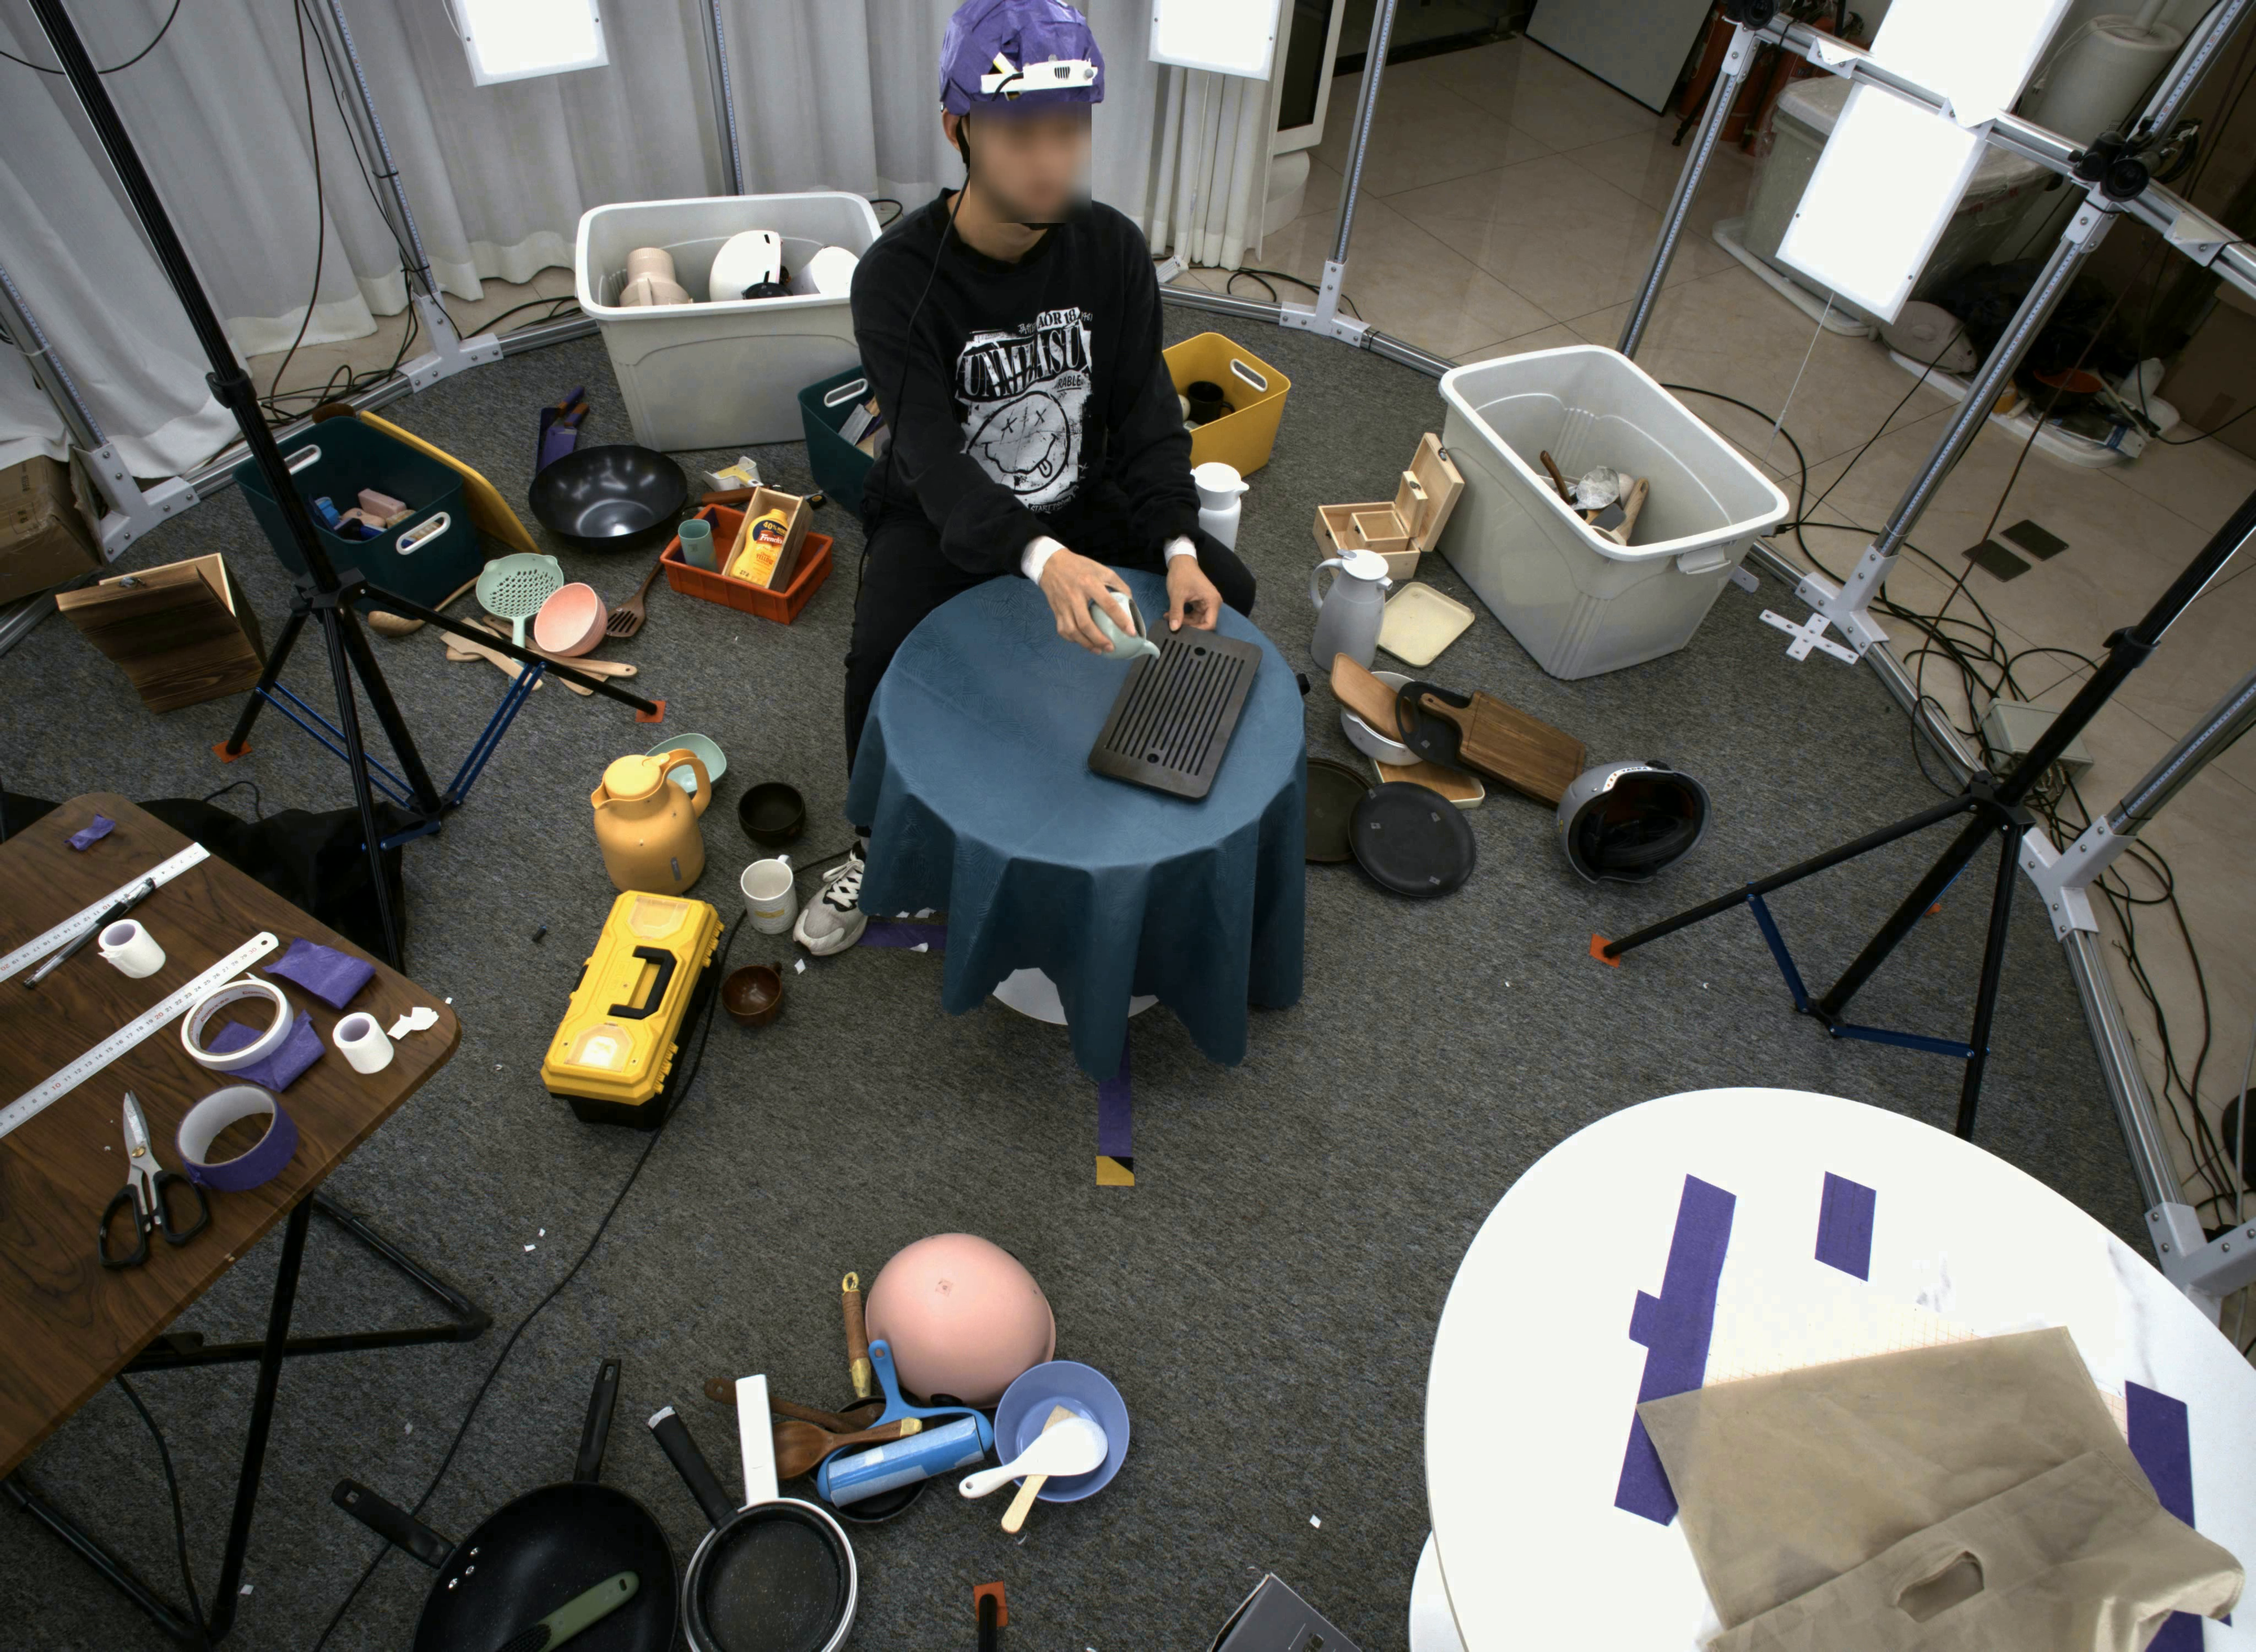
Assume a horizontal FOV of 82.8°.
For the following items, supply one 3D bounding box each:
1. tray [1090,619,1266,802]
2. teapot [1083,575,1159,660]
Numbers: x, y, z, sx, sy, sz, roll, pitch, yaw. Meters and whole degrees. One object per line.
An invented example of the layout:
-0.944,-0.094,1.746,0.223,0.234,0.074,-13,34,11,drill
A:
0.075,-0.166,1.797,0.171,0.018,0.312,16,53,11,tray
-0.016,-0.259,1.656,0.074,0.140,0.090,-17,41,15,teapot
